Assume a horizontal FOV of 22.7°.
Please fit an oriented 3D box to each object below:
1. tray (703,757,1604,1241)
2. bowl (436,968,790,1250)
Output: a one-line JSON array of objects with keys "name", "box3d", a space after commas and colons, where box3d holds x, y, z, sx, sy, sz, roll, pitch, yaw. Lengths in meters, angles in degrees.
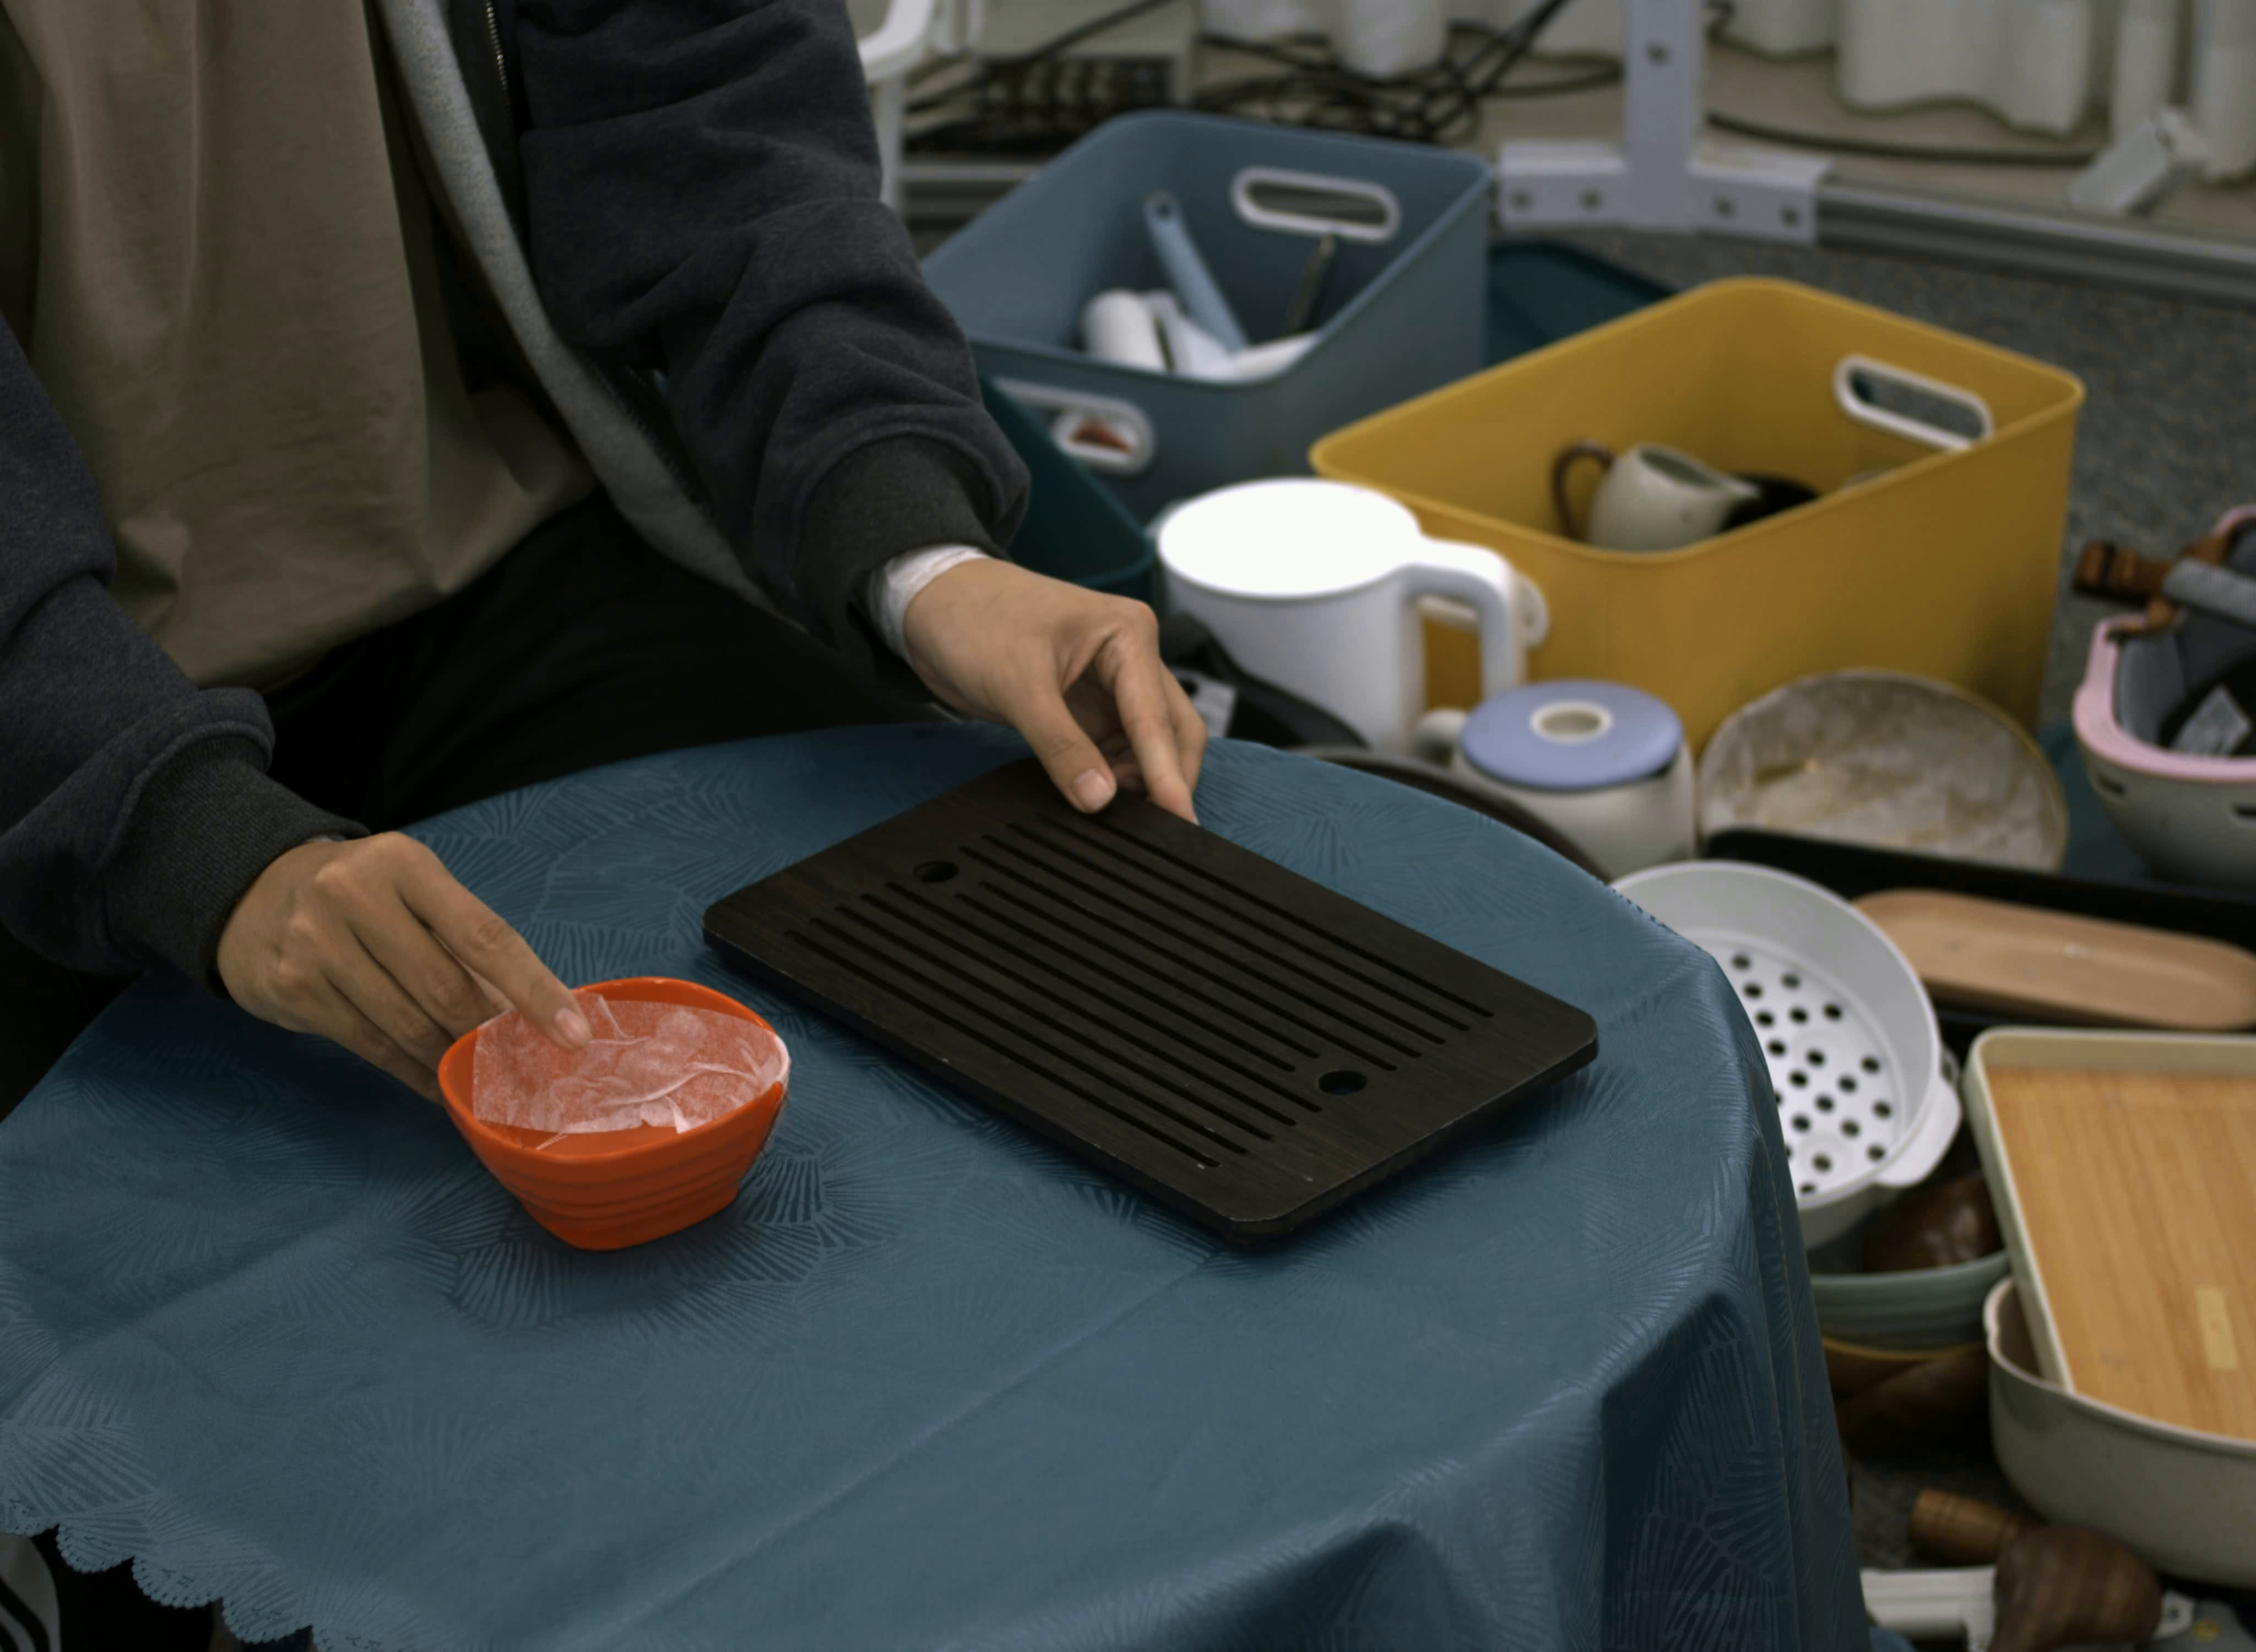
[{"name": "tray", "box3d": [0.005, 0.057, 1.963, 0.172, 0.018, 0.306, -26, 35, -34]}, {"name": "bowl", "box3d": [-0.169, 0.098, 1.864, 0.118, 0.051, 0.121, -2, 29, 1]}]
